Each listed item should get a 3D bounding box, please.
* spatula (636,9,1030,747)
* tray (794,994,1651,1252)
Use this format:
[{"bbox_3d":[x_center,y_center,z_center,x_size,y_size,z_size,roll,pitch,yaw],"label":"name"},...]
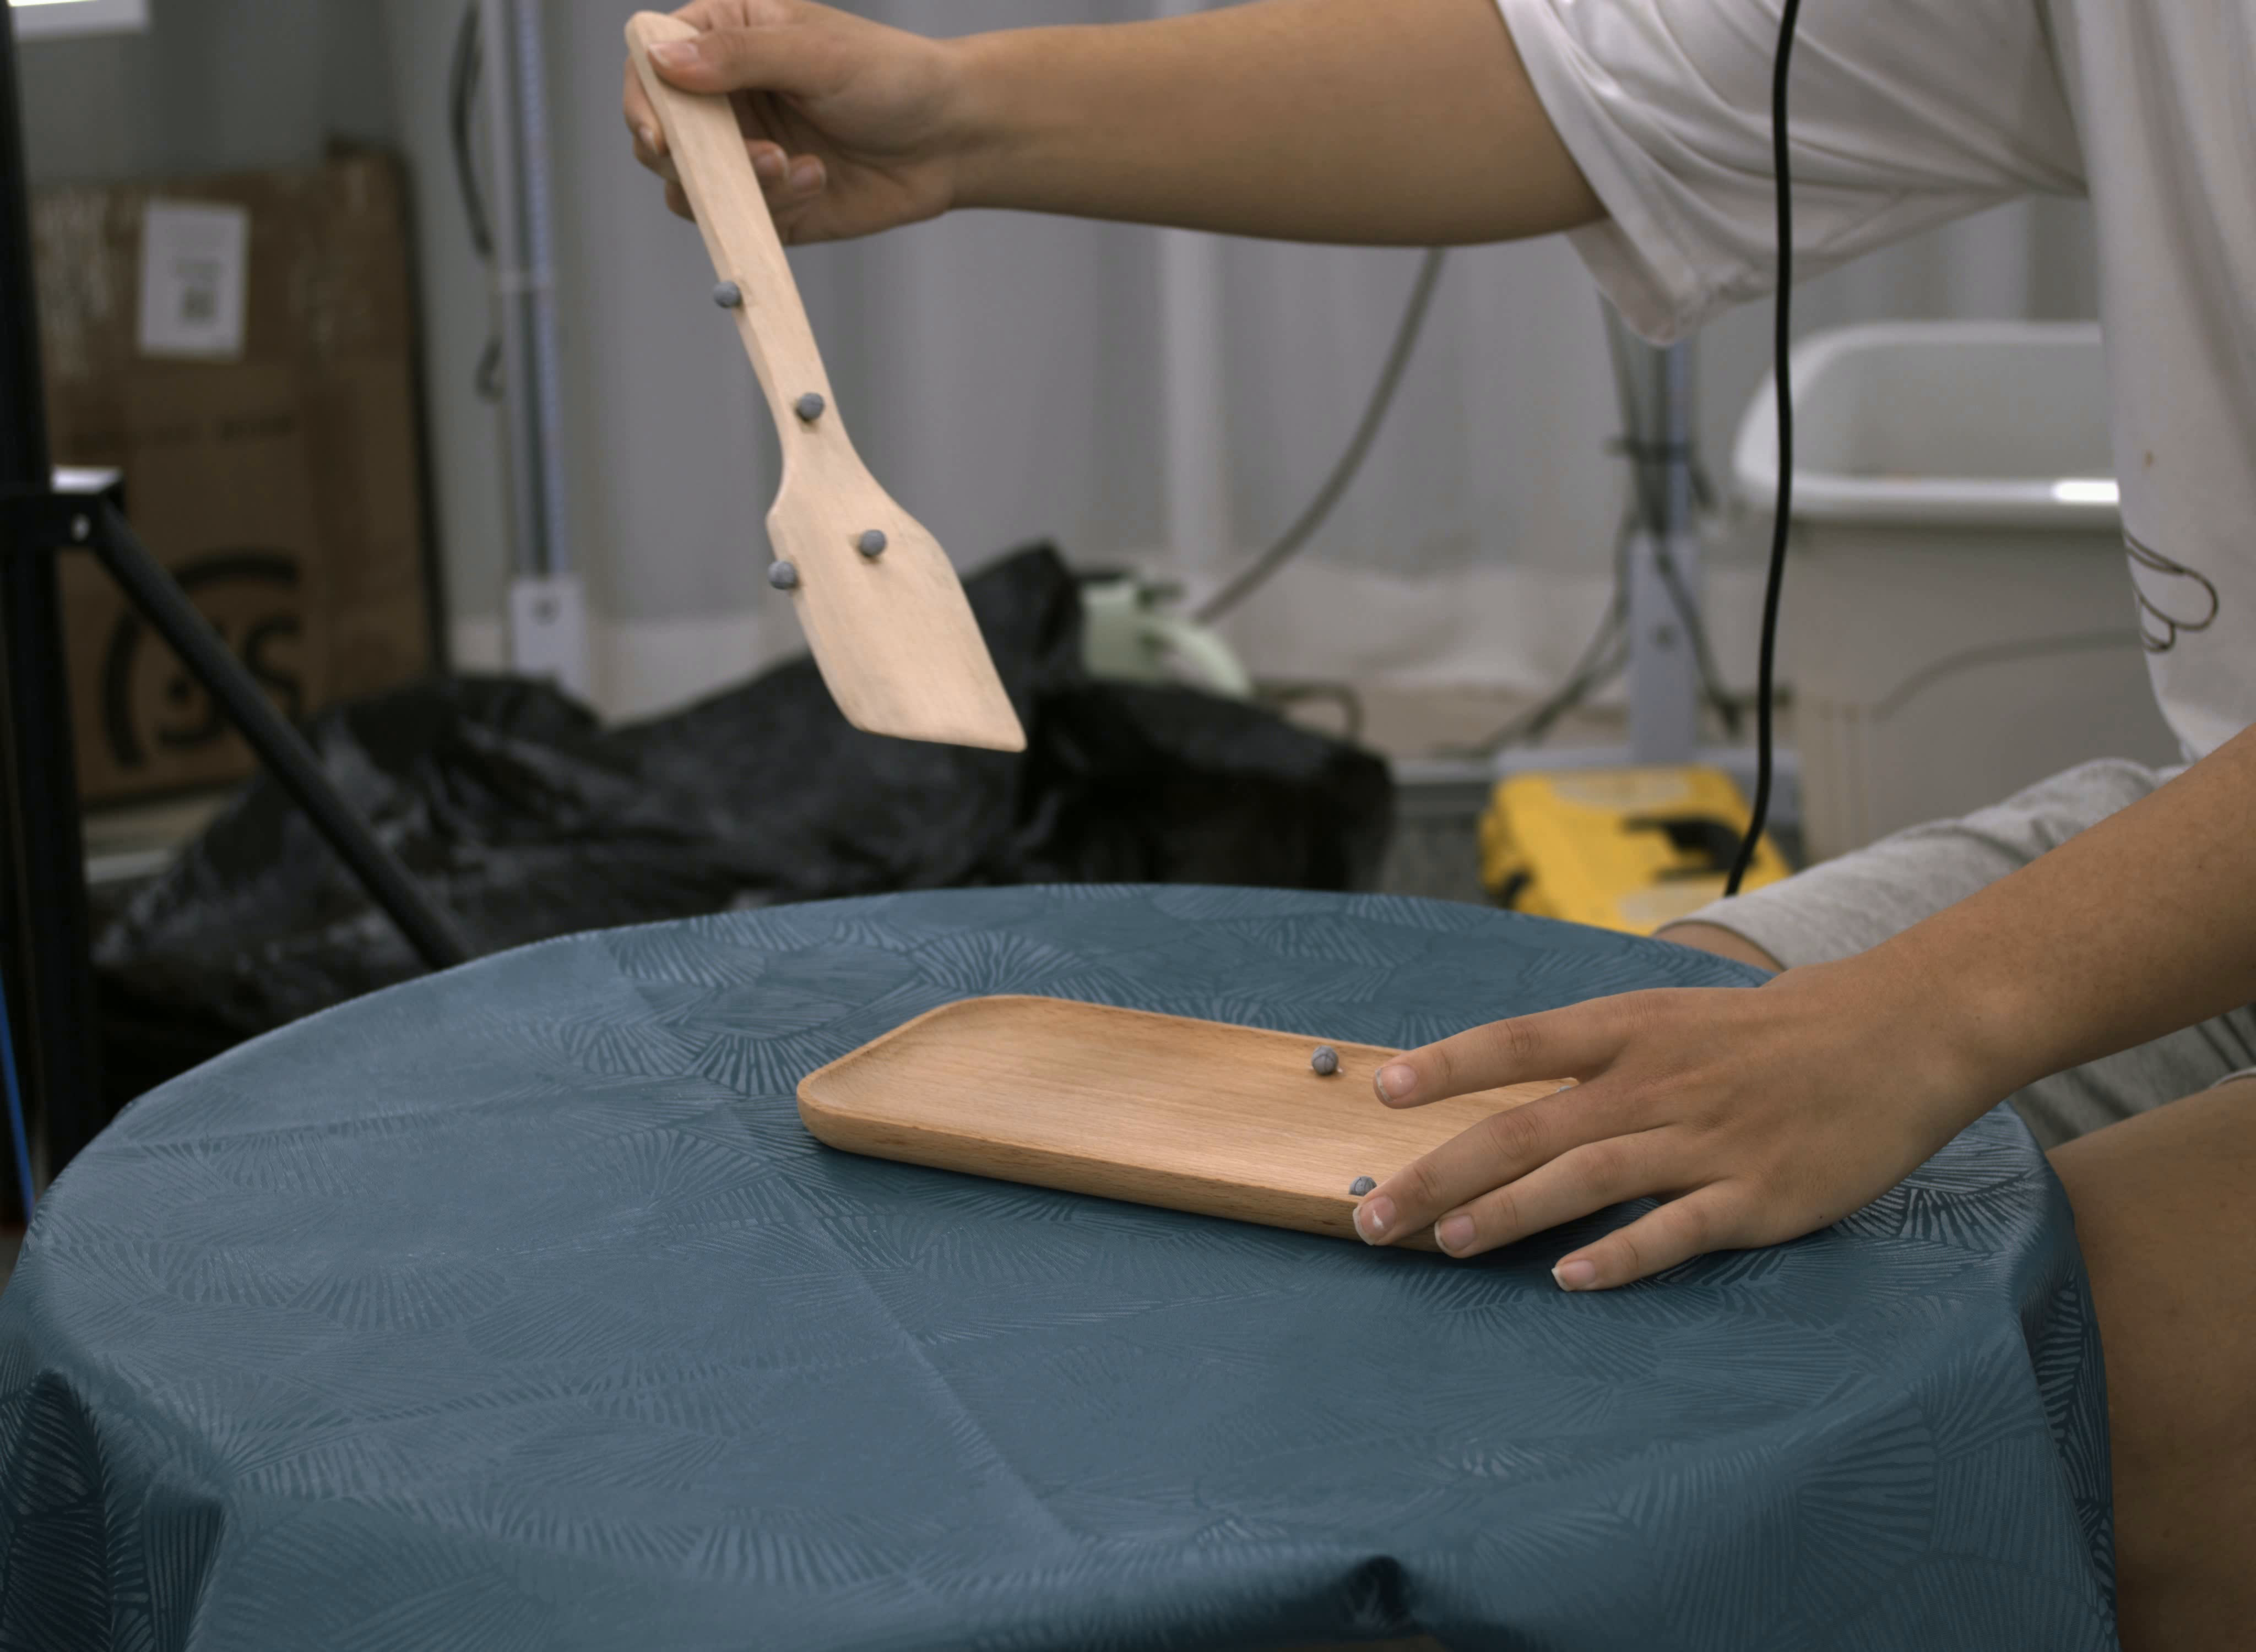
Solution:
[{"bbox_3d":[-0.105,-0.146,1.690,0.070,0.011,0.298,6,50,-41],"label":"spatula"},{"bbox_3d":[0.027,0.088,1.599,0.255,0.023,0.128,7,16,33],"label":"tray"}]
